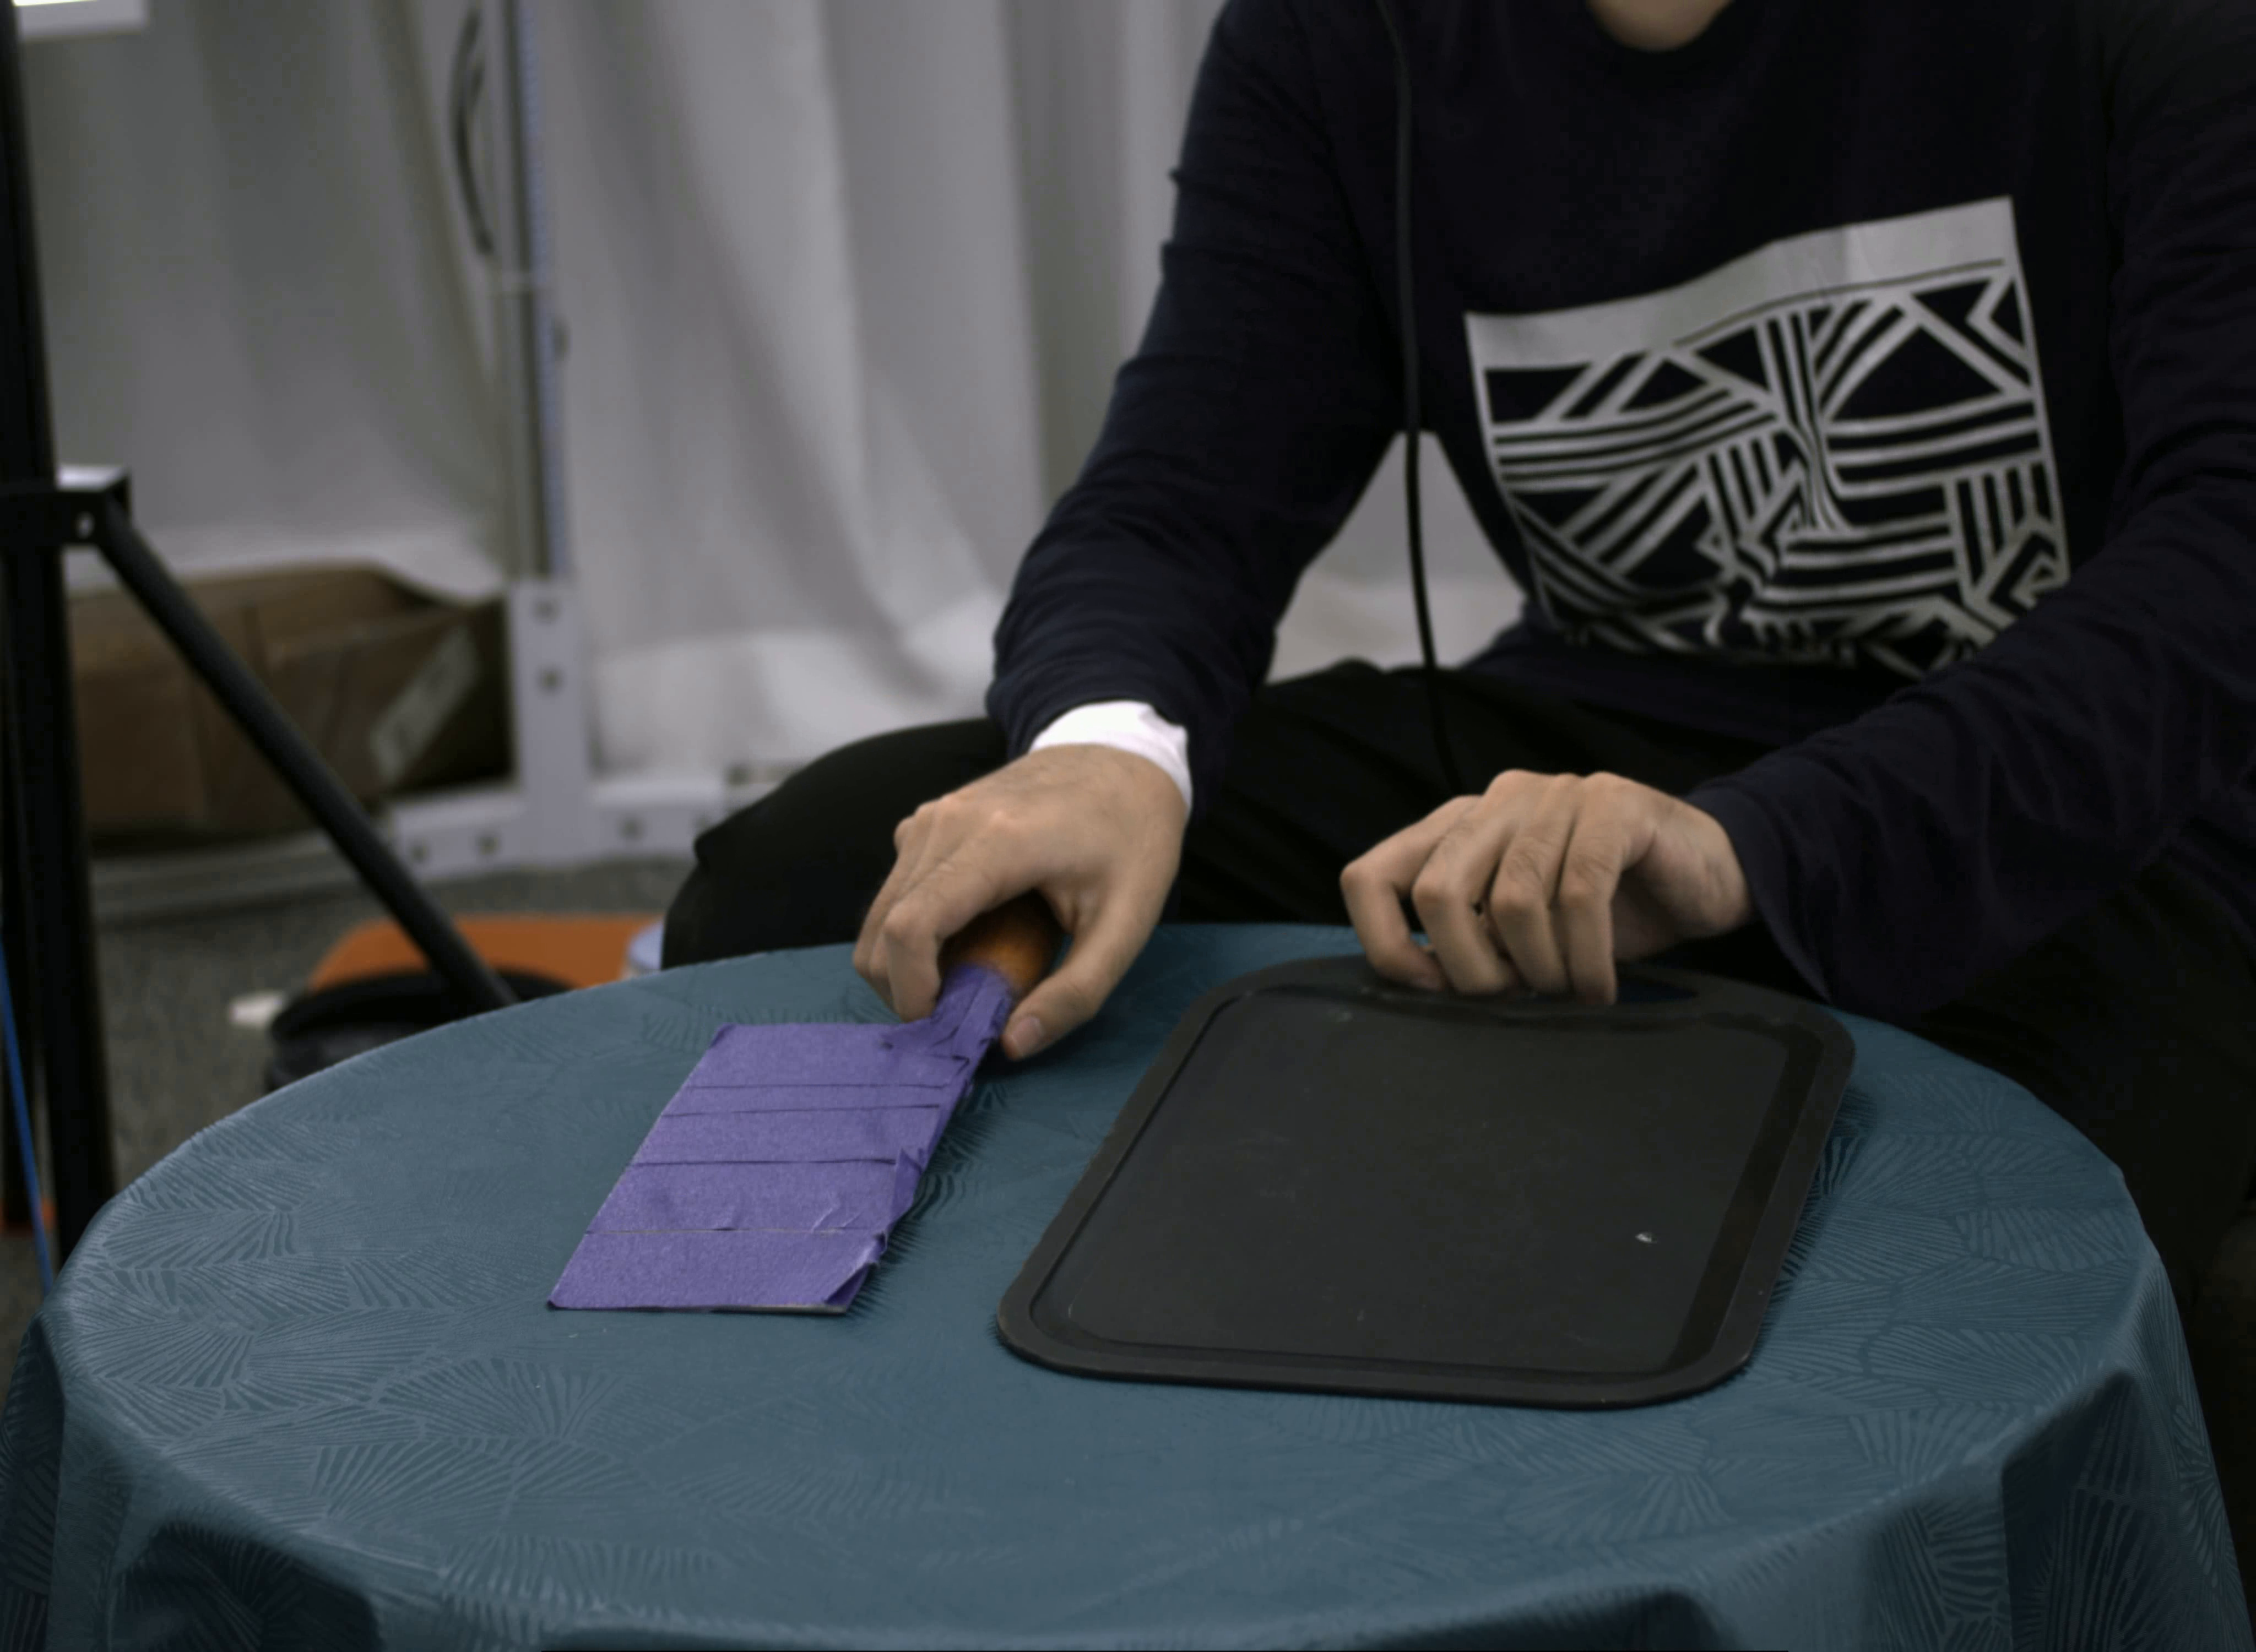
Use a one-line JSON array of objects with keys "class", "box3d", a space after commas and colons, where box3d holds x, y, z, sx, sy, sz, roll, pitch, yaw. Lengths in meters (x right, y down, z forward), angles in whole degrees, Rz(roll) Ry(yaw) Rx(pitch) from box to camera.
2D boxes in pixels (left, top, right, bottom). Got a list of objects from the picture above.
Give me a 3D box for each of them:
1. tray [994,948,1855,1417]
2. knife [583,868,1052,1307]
[{"class": "tray", "box3d": [0.094, 0.094, 1.545, 0.213, 0.010, 0.323, 3, 21, 16]}, {"class": "knife", "box3d": [-0.092, 0.076, 1.621, 0.104, 0.032, 0.314, 0, 18, 10]}]
